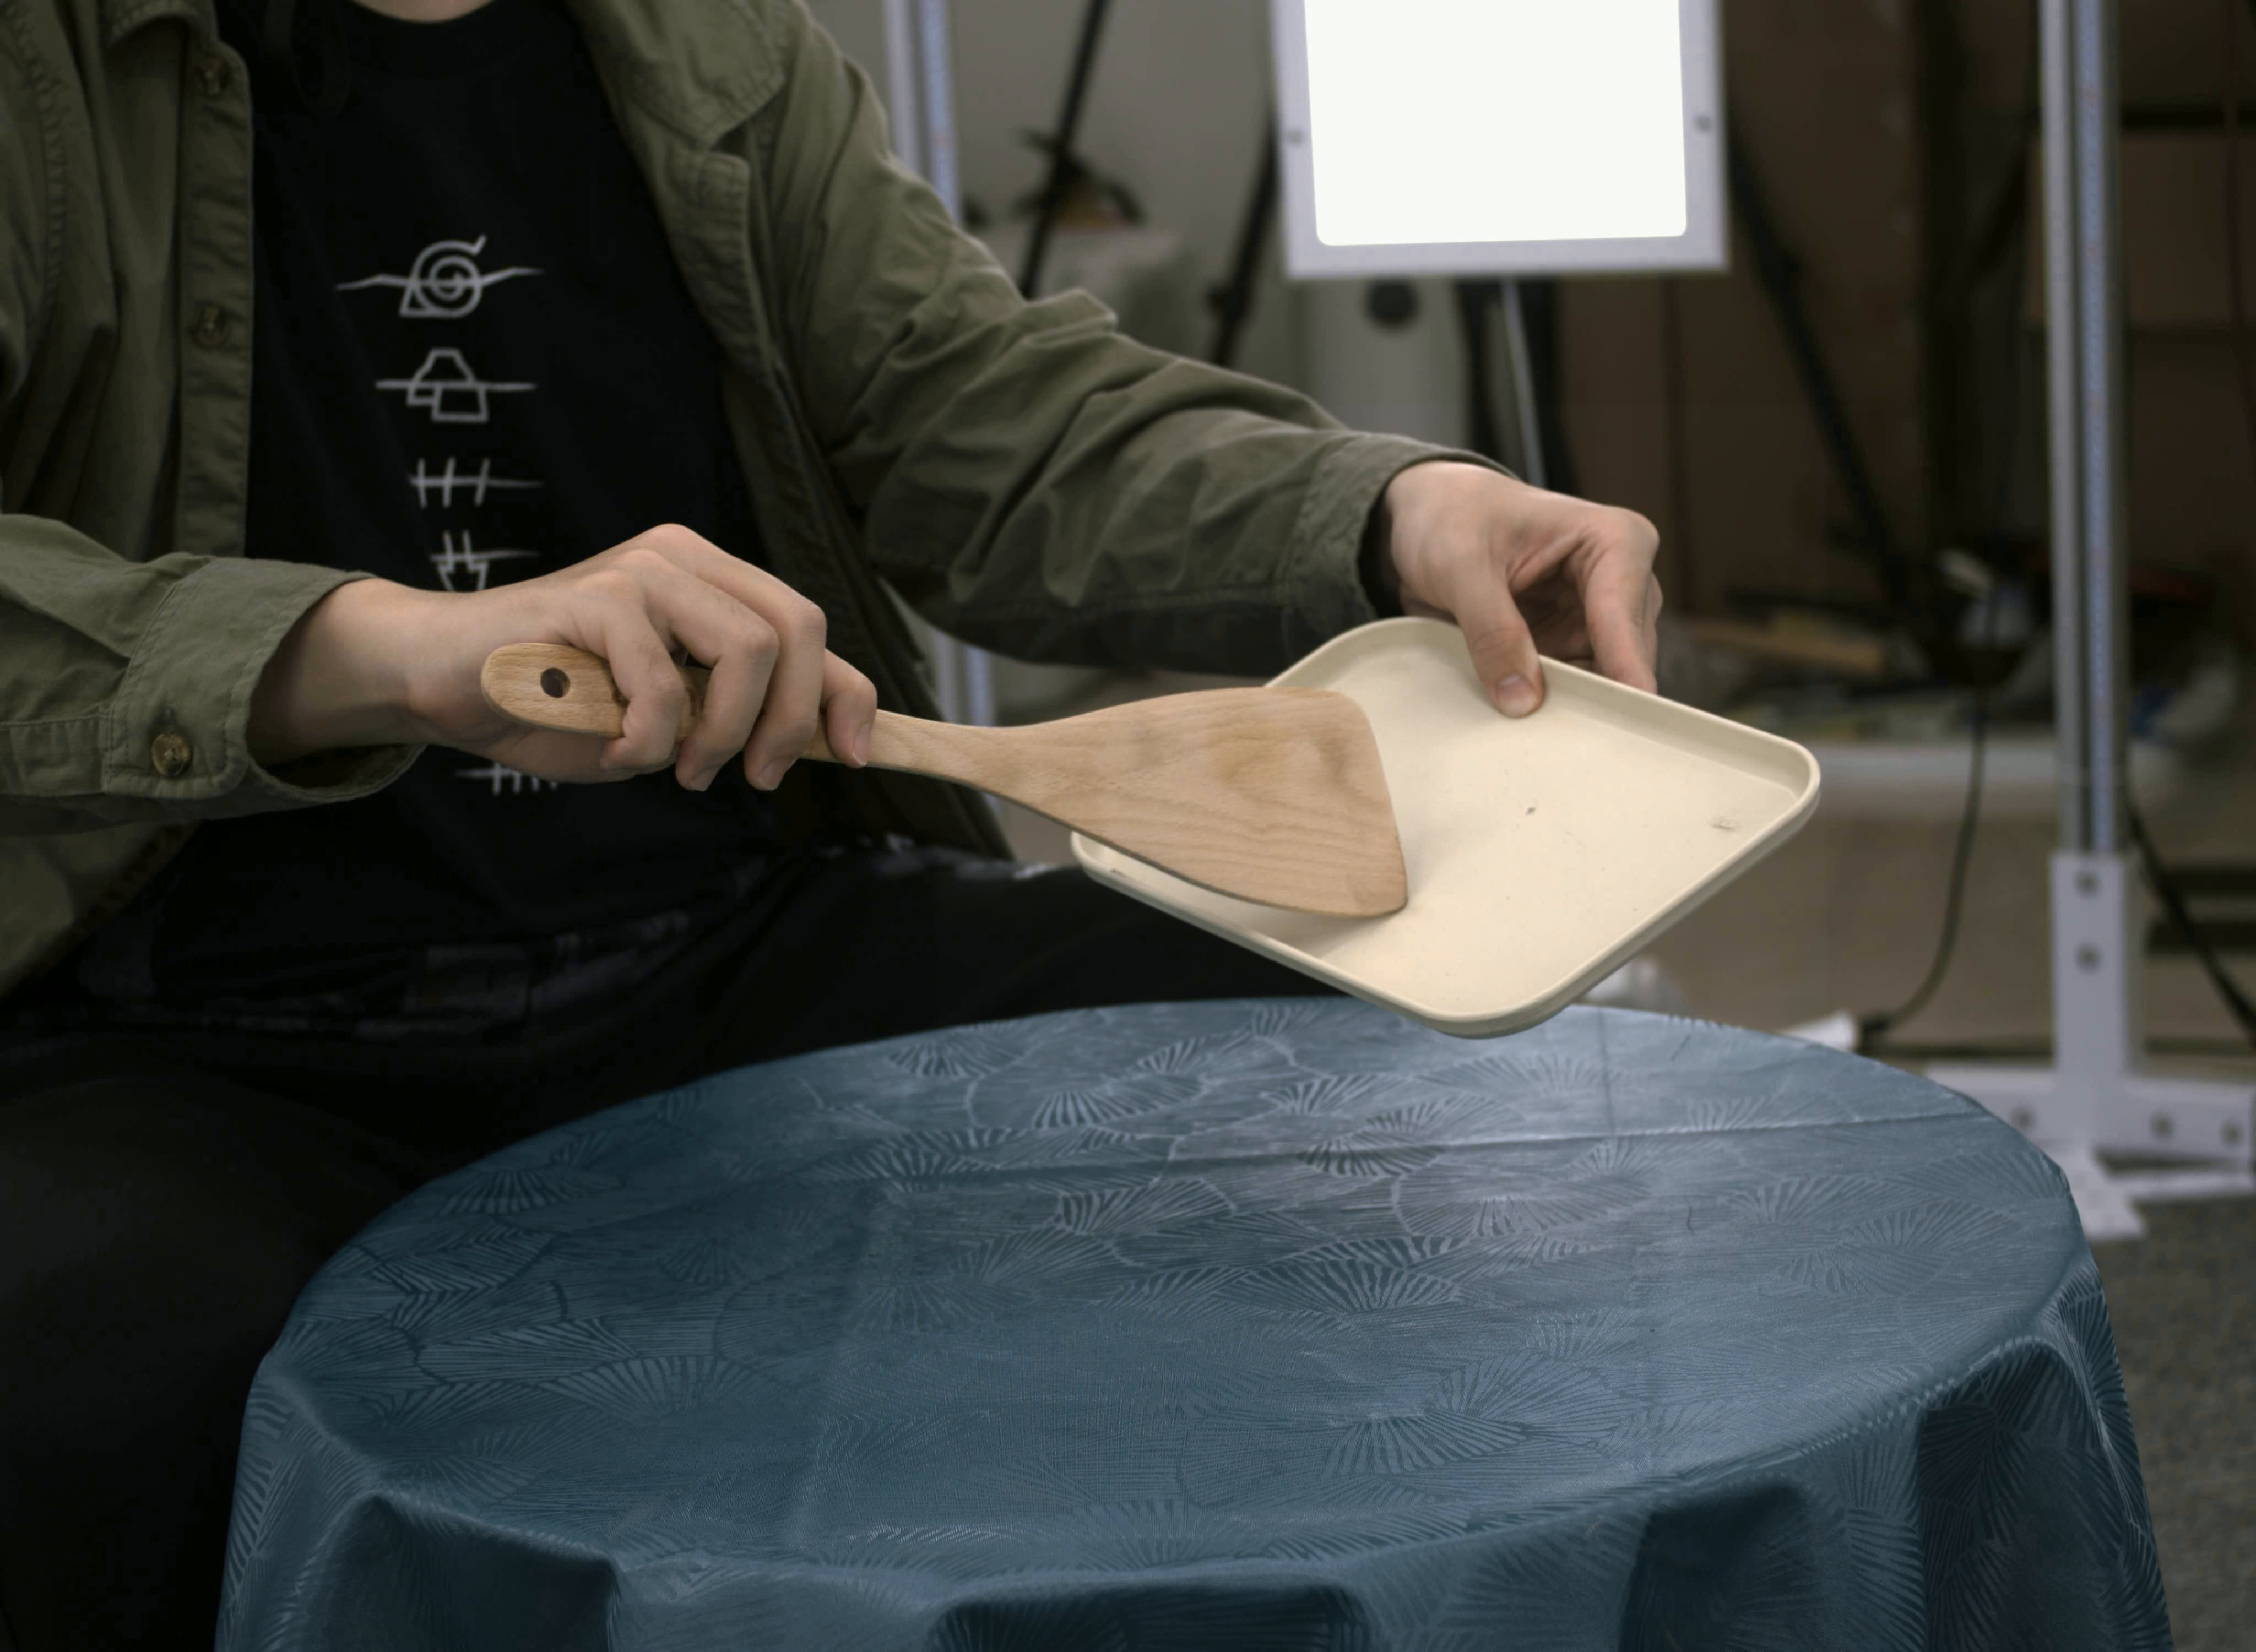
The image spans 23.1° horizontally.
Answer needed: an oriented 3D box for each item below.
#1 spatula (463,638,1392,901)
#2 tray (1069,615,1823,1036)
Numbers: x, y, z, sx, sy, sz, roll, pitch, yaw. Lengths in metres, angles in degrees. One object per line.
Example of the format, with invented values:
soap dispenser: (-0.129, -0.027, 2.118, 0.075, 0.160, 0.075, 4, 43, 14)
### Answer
spatula: (-0.059, -0.029, 1.748, 0.320, 0.080, 0.017, 8, -22, -28)
tray: (0.105, -0.002, 1.830, 0.168, 0.017, 0.244, -35, 33, -24)
